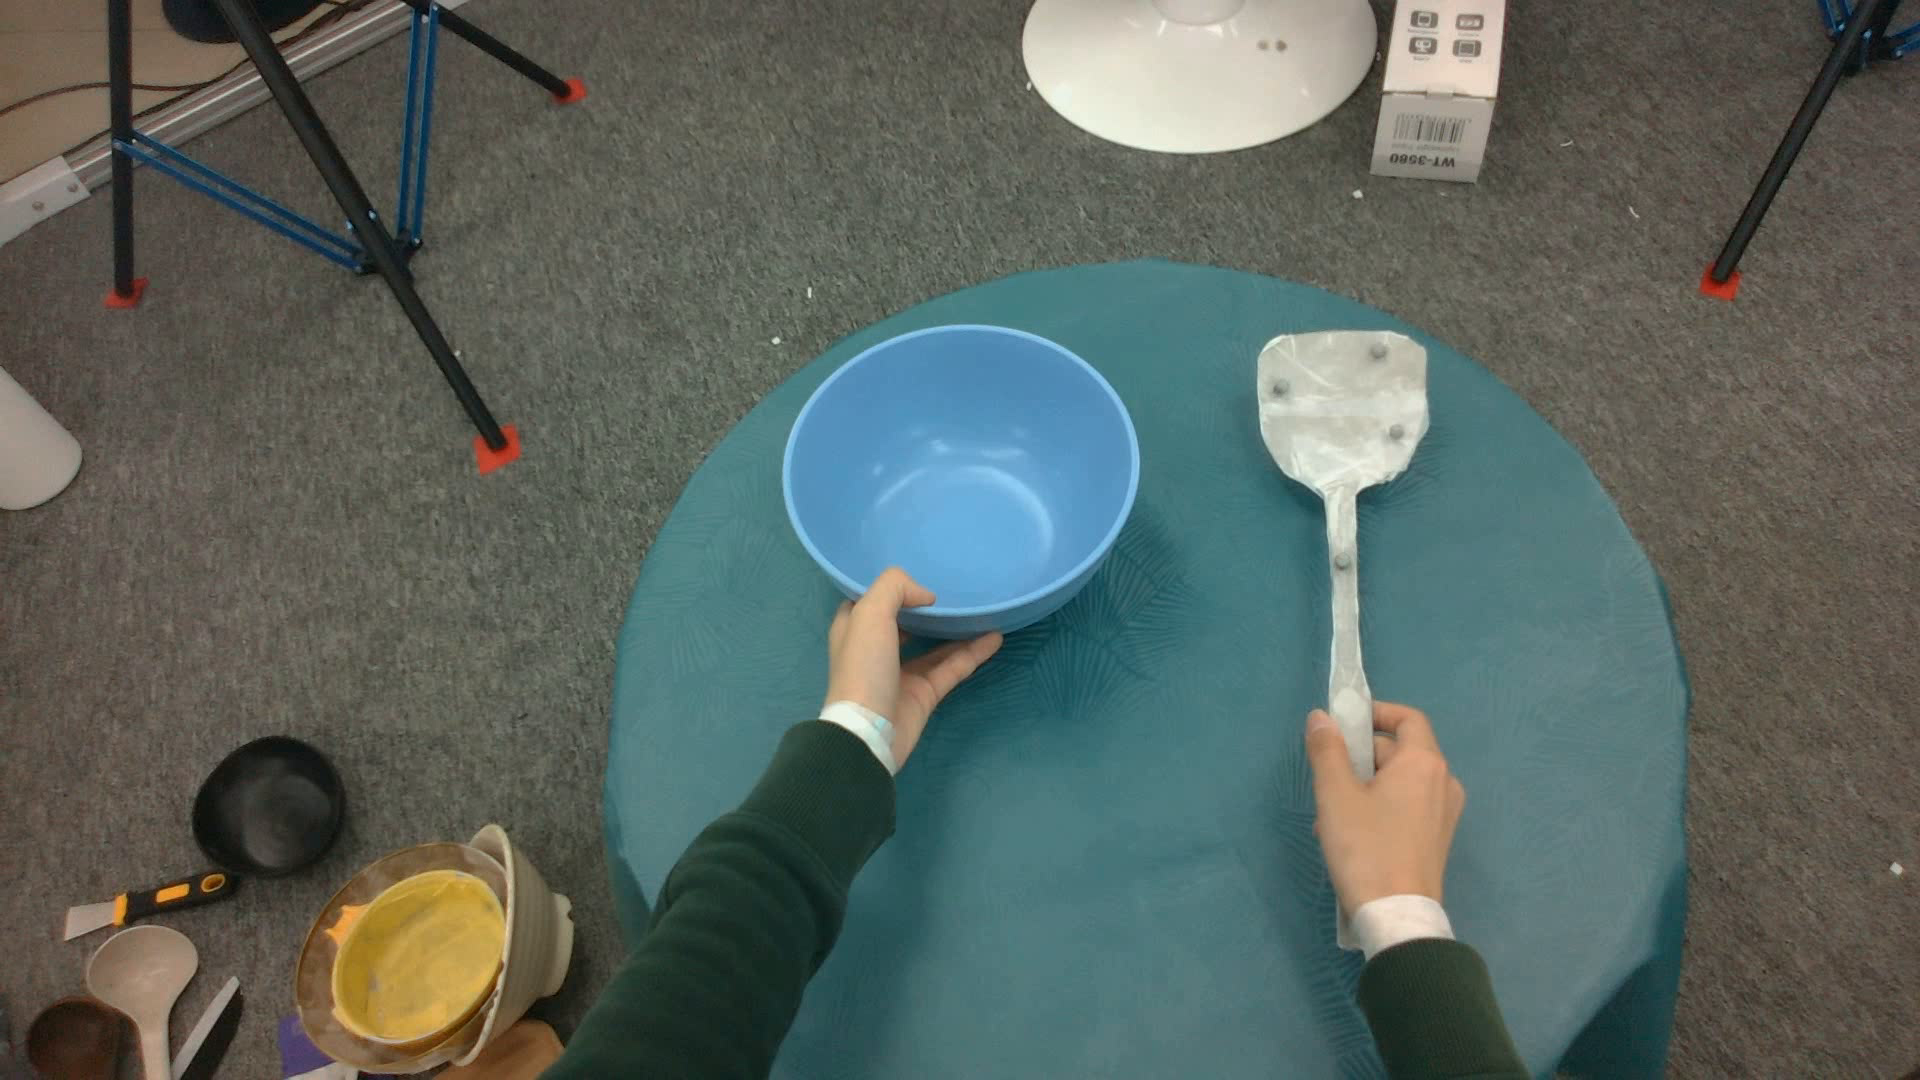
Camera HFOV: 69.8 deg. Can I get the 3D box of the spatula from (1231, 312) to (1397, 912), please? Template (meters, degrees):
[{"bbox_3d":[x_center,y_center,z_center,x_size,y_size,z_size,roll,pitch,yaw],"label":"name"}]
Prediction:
[{"bbox_3d":[0.191,0.021,0.751,0.098,0.044,0.366,4,54,9],"label":"spatula"}]

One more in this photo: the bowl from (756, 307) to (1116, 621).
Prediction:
[{"bbox_3d":[-0.012,-0.029,0.788,0.196,0.095,0.197,0,56,1],"label":"bowl"}]
